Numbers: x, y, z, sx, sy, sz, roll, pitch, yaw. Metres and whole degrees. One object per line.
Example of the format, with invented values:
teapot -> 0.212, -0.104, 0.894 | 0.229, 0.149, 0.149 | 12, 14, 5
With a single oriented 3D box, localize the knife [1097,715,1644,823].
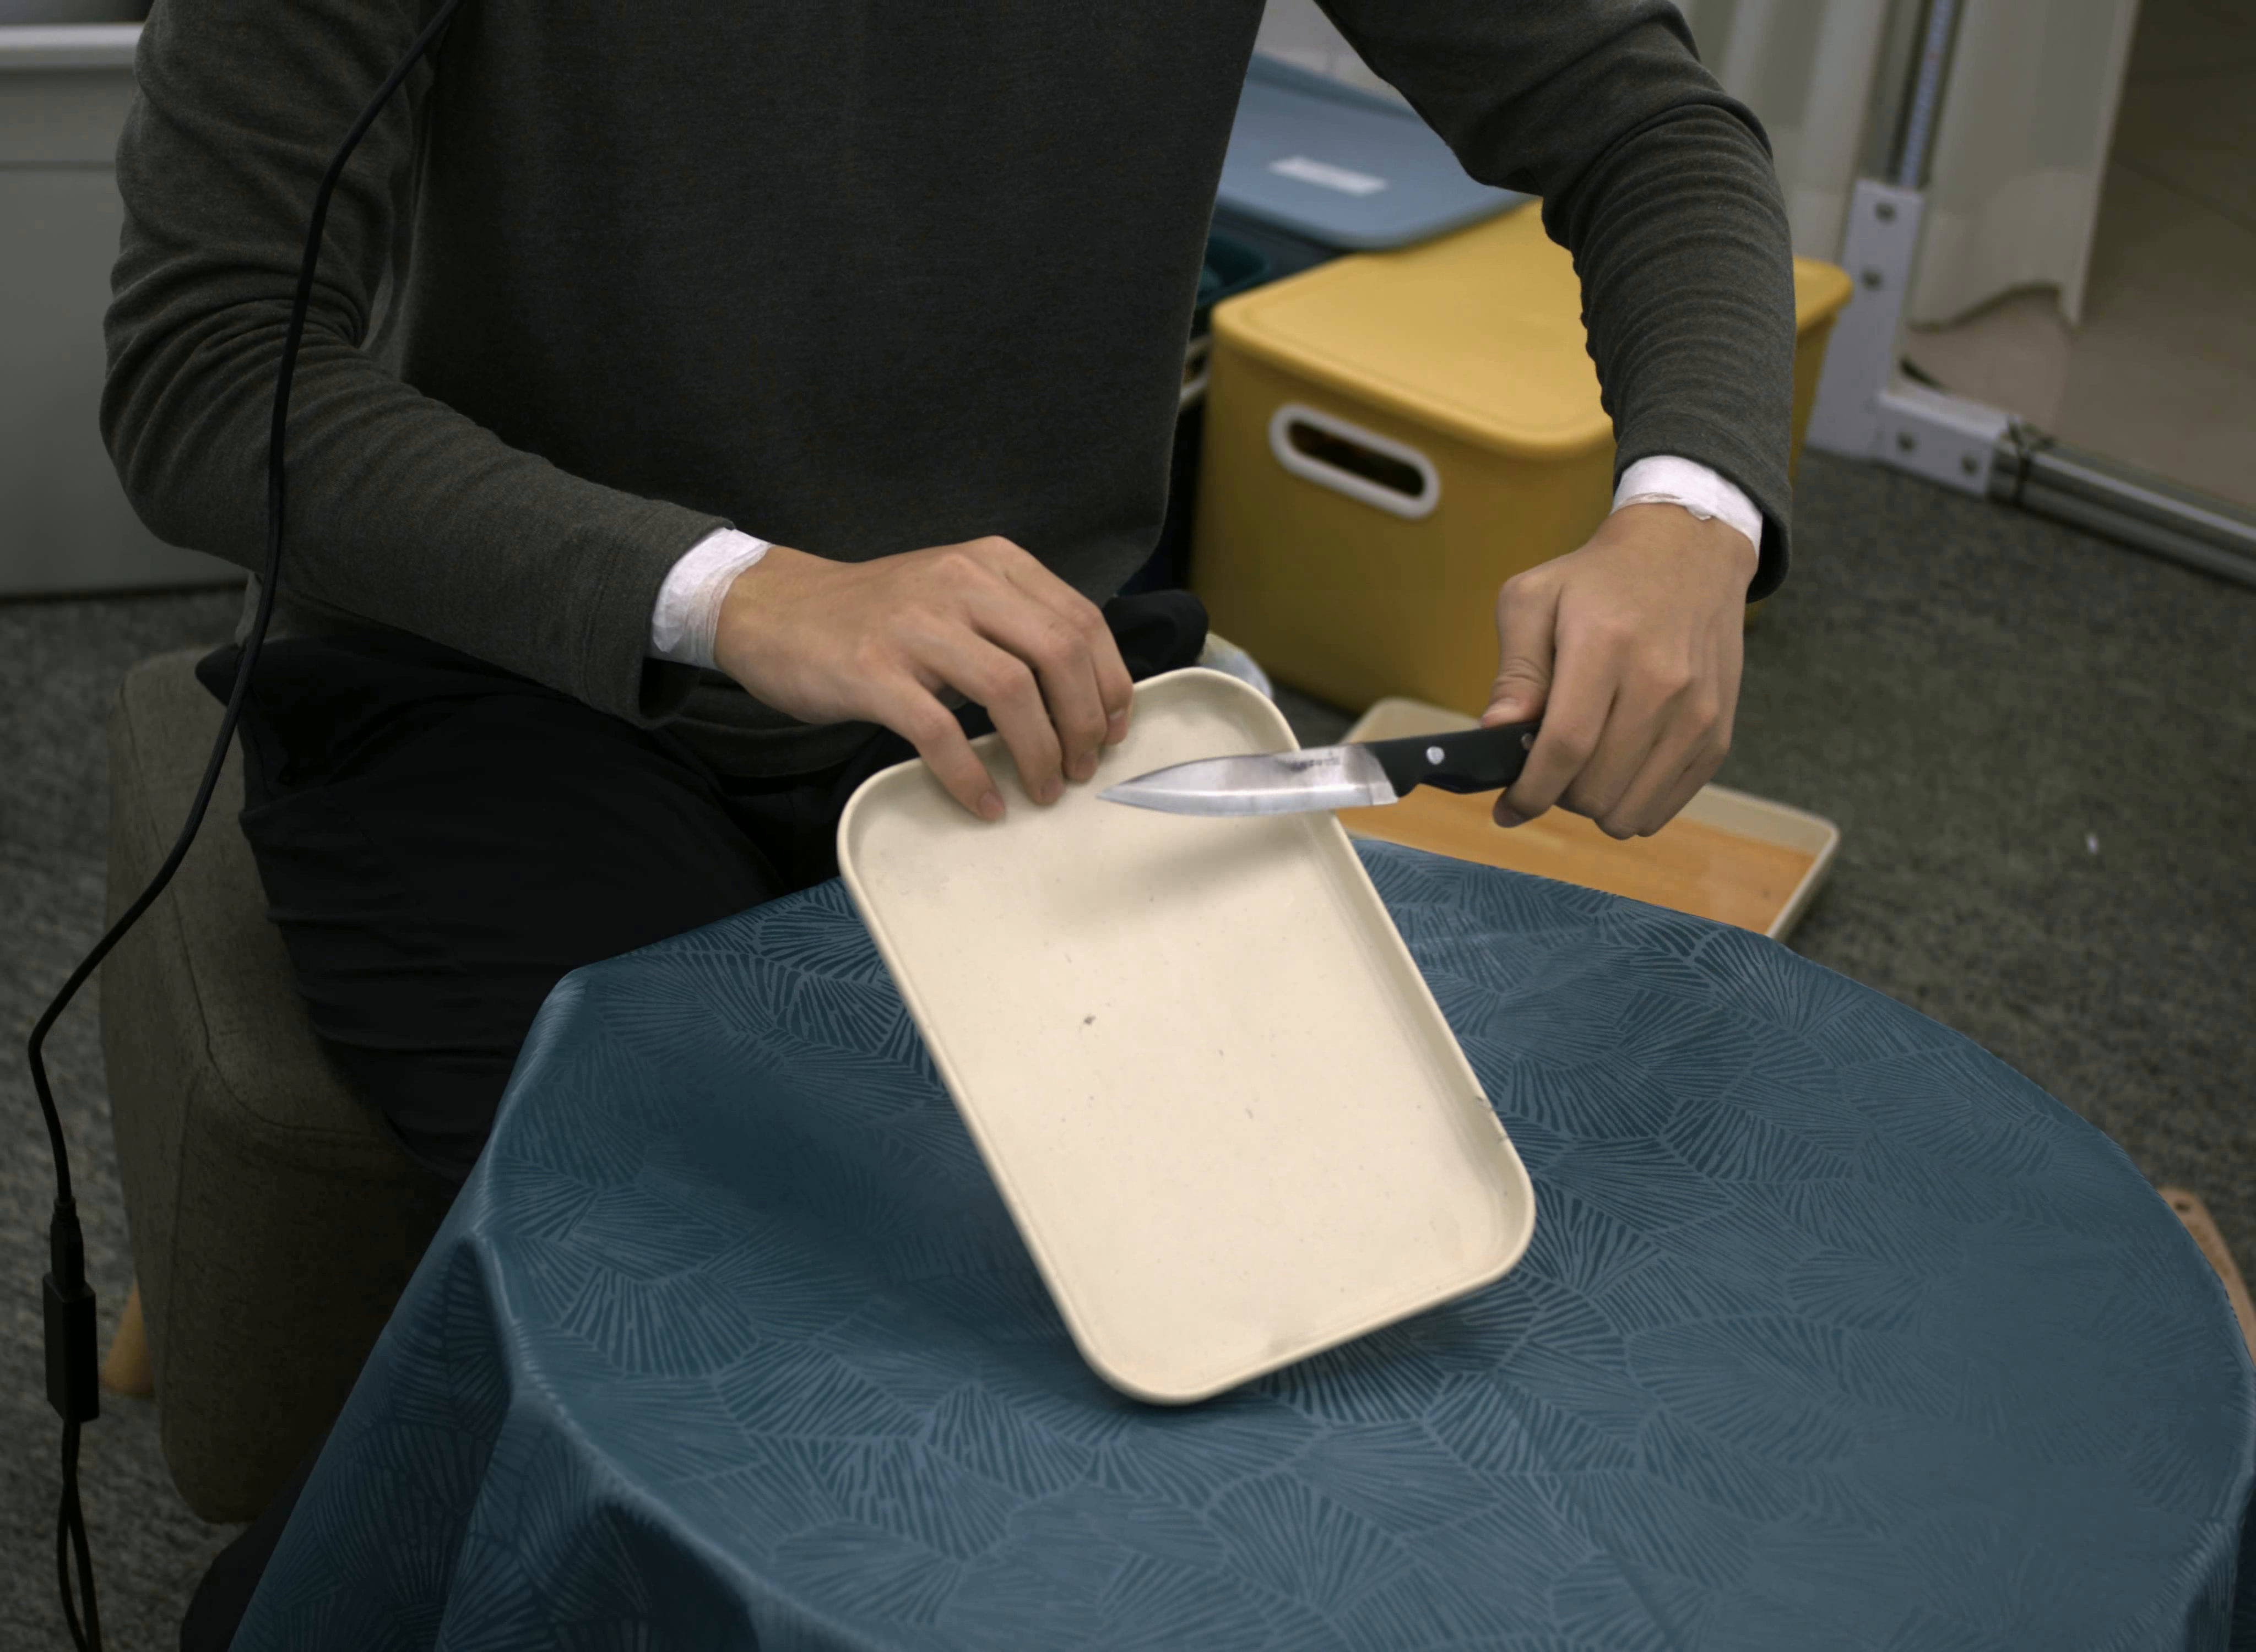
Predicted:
knife -> 0.083, -0.020, 1.801 | 0.236, 0.024, 0.016 | -7, -11, -37

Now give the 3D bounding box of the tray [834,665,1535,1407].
tray -> 0.017, 0.067, 1.750 | 0.170, 0.017, 0.241 | -19, 69, -22
